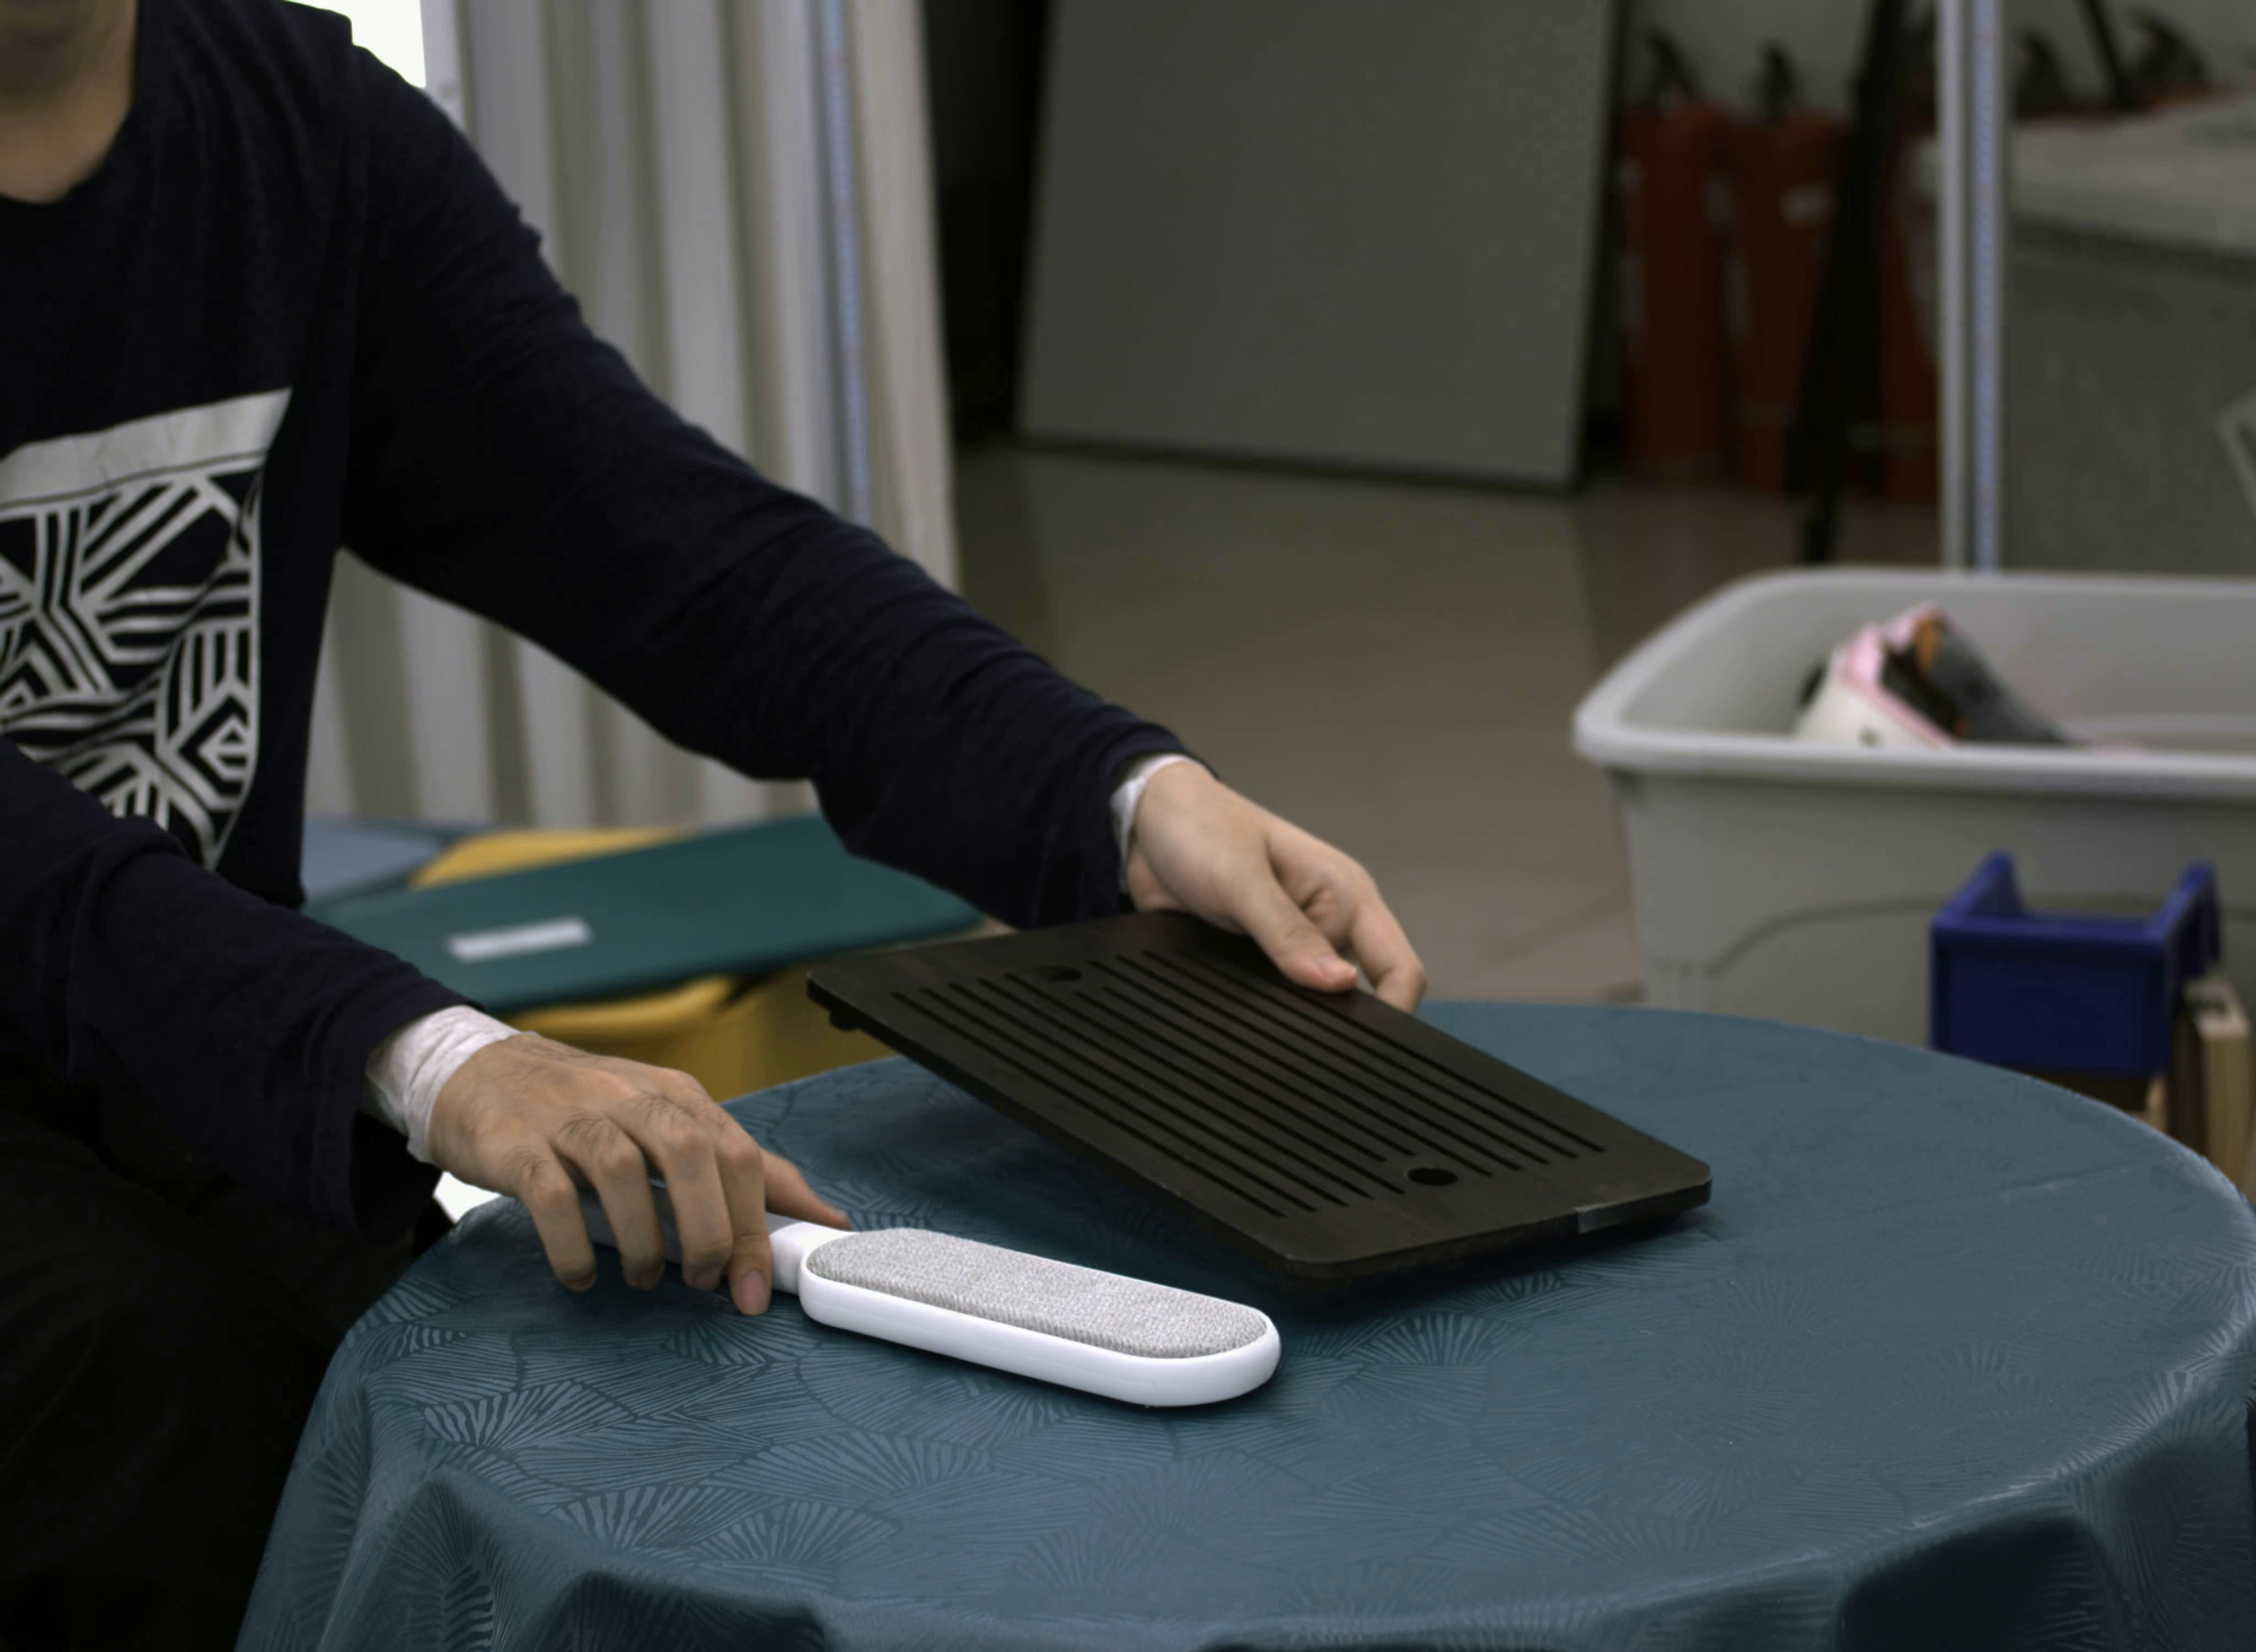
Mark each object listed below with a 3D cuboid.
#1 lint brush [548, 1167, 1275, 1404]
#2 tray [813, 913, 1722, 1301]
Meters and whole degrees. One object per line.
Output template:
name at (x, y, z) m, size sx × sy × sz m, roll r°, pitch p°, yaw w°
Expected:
lint brush at (-0.074, 0.138, 1.671) m, size 0.312 × 0.021 × 0.059 m, roll 9°, pitch 24°, yaw 44°
tray at (0.040, 0.089, 1.783) m, size 0.166 × 0.019 × 0.309 m, roll -10°, pitch 21°, yaw -33°
